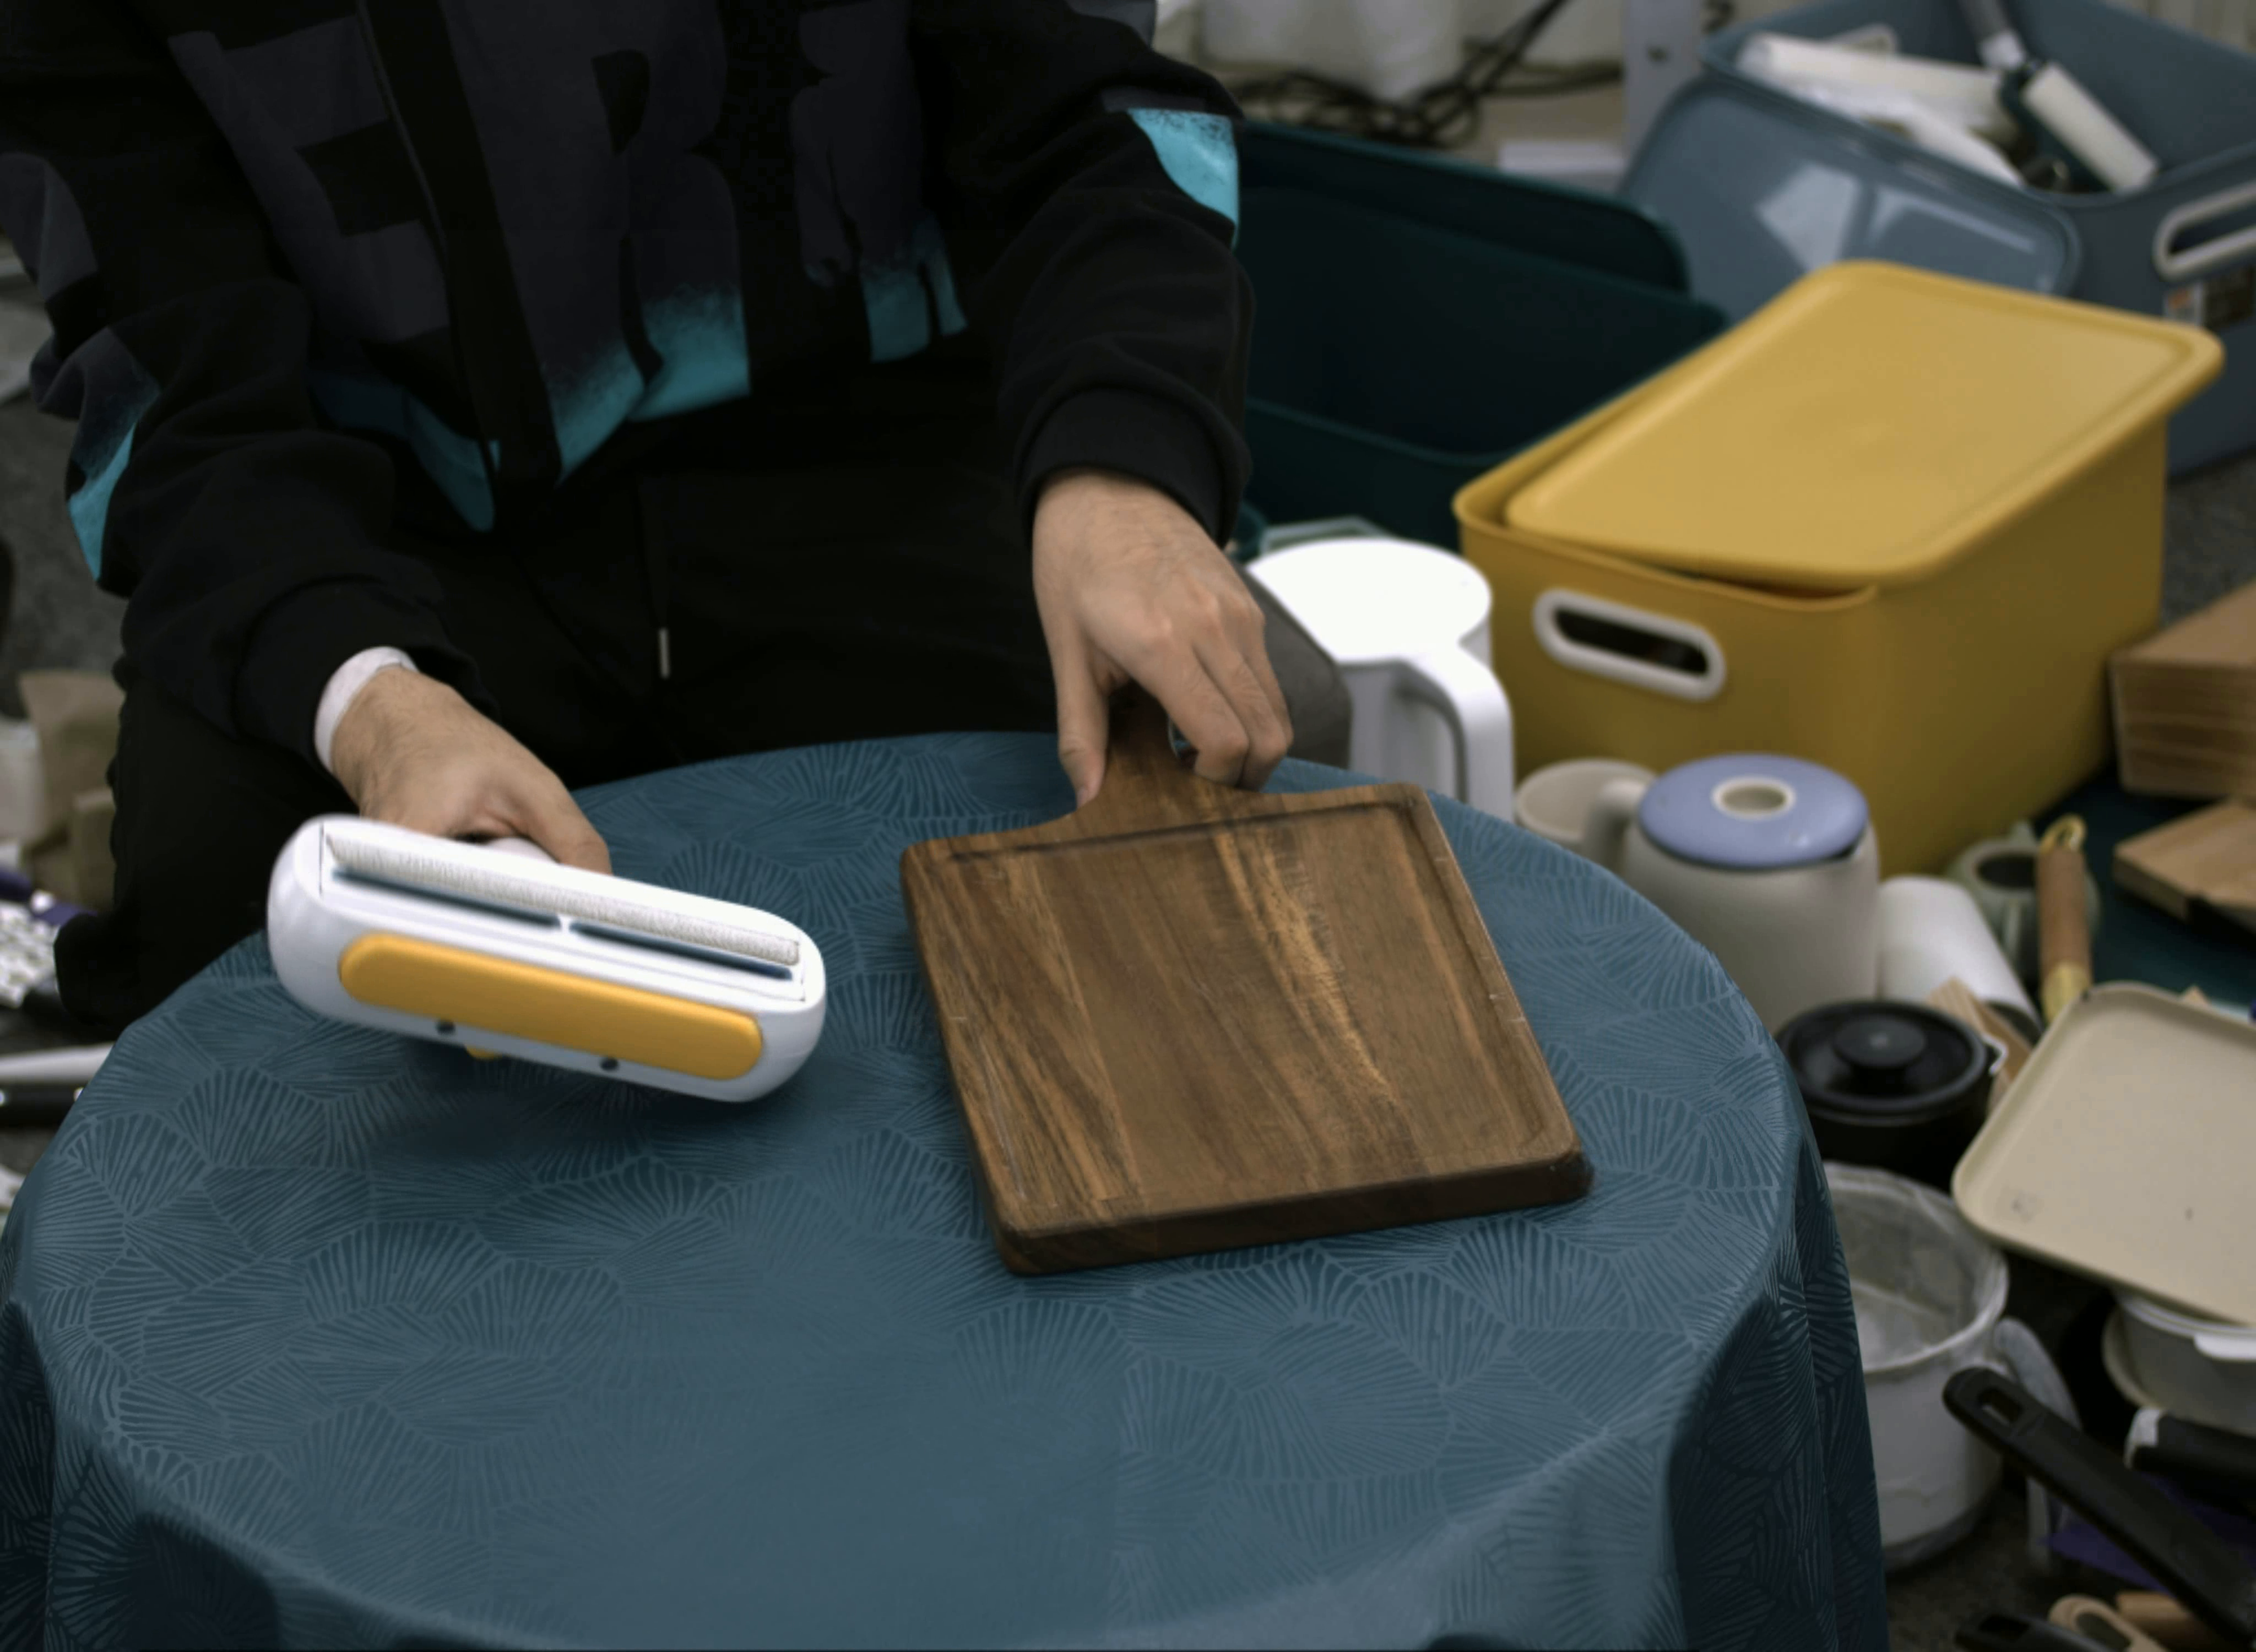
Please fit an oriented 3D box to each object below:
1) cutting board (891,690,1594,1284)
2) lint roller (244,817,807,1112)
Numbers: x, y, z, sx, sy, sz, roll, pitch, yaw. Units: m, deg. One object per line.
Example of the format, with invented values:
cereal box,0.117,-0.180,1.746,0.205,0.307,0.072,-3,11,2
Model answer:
cutting board,0.025,0.043,1.972,0.201,0.023,0.357,-7,30,-8
lint roller,-0.211,0.030,1.952,0.192,0.073,0.195,9,24,-12
